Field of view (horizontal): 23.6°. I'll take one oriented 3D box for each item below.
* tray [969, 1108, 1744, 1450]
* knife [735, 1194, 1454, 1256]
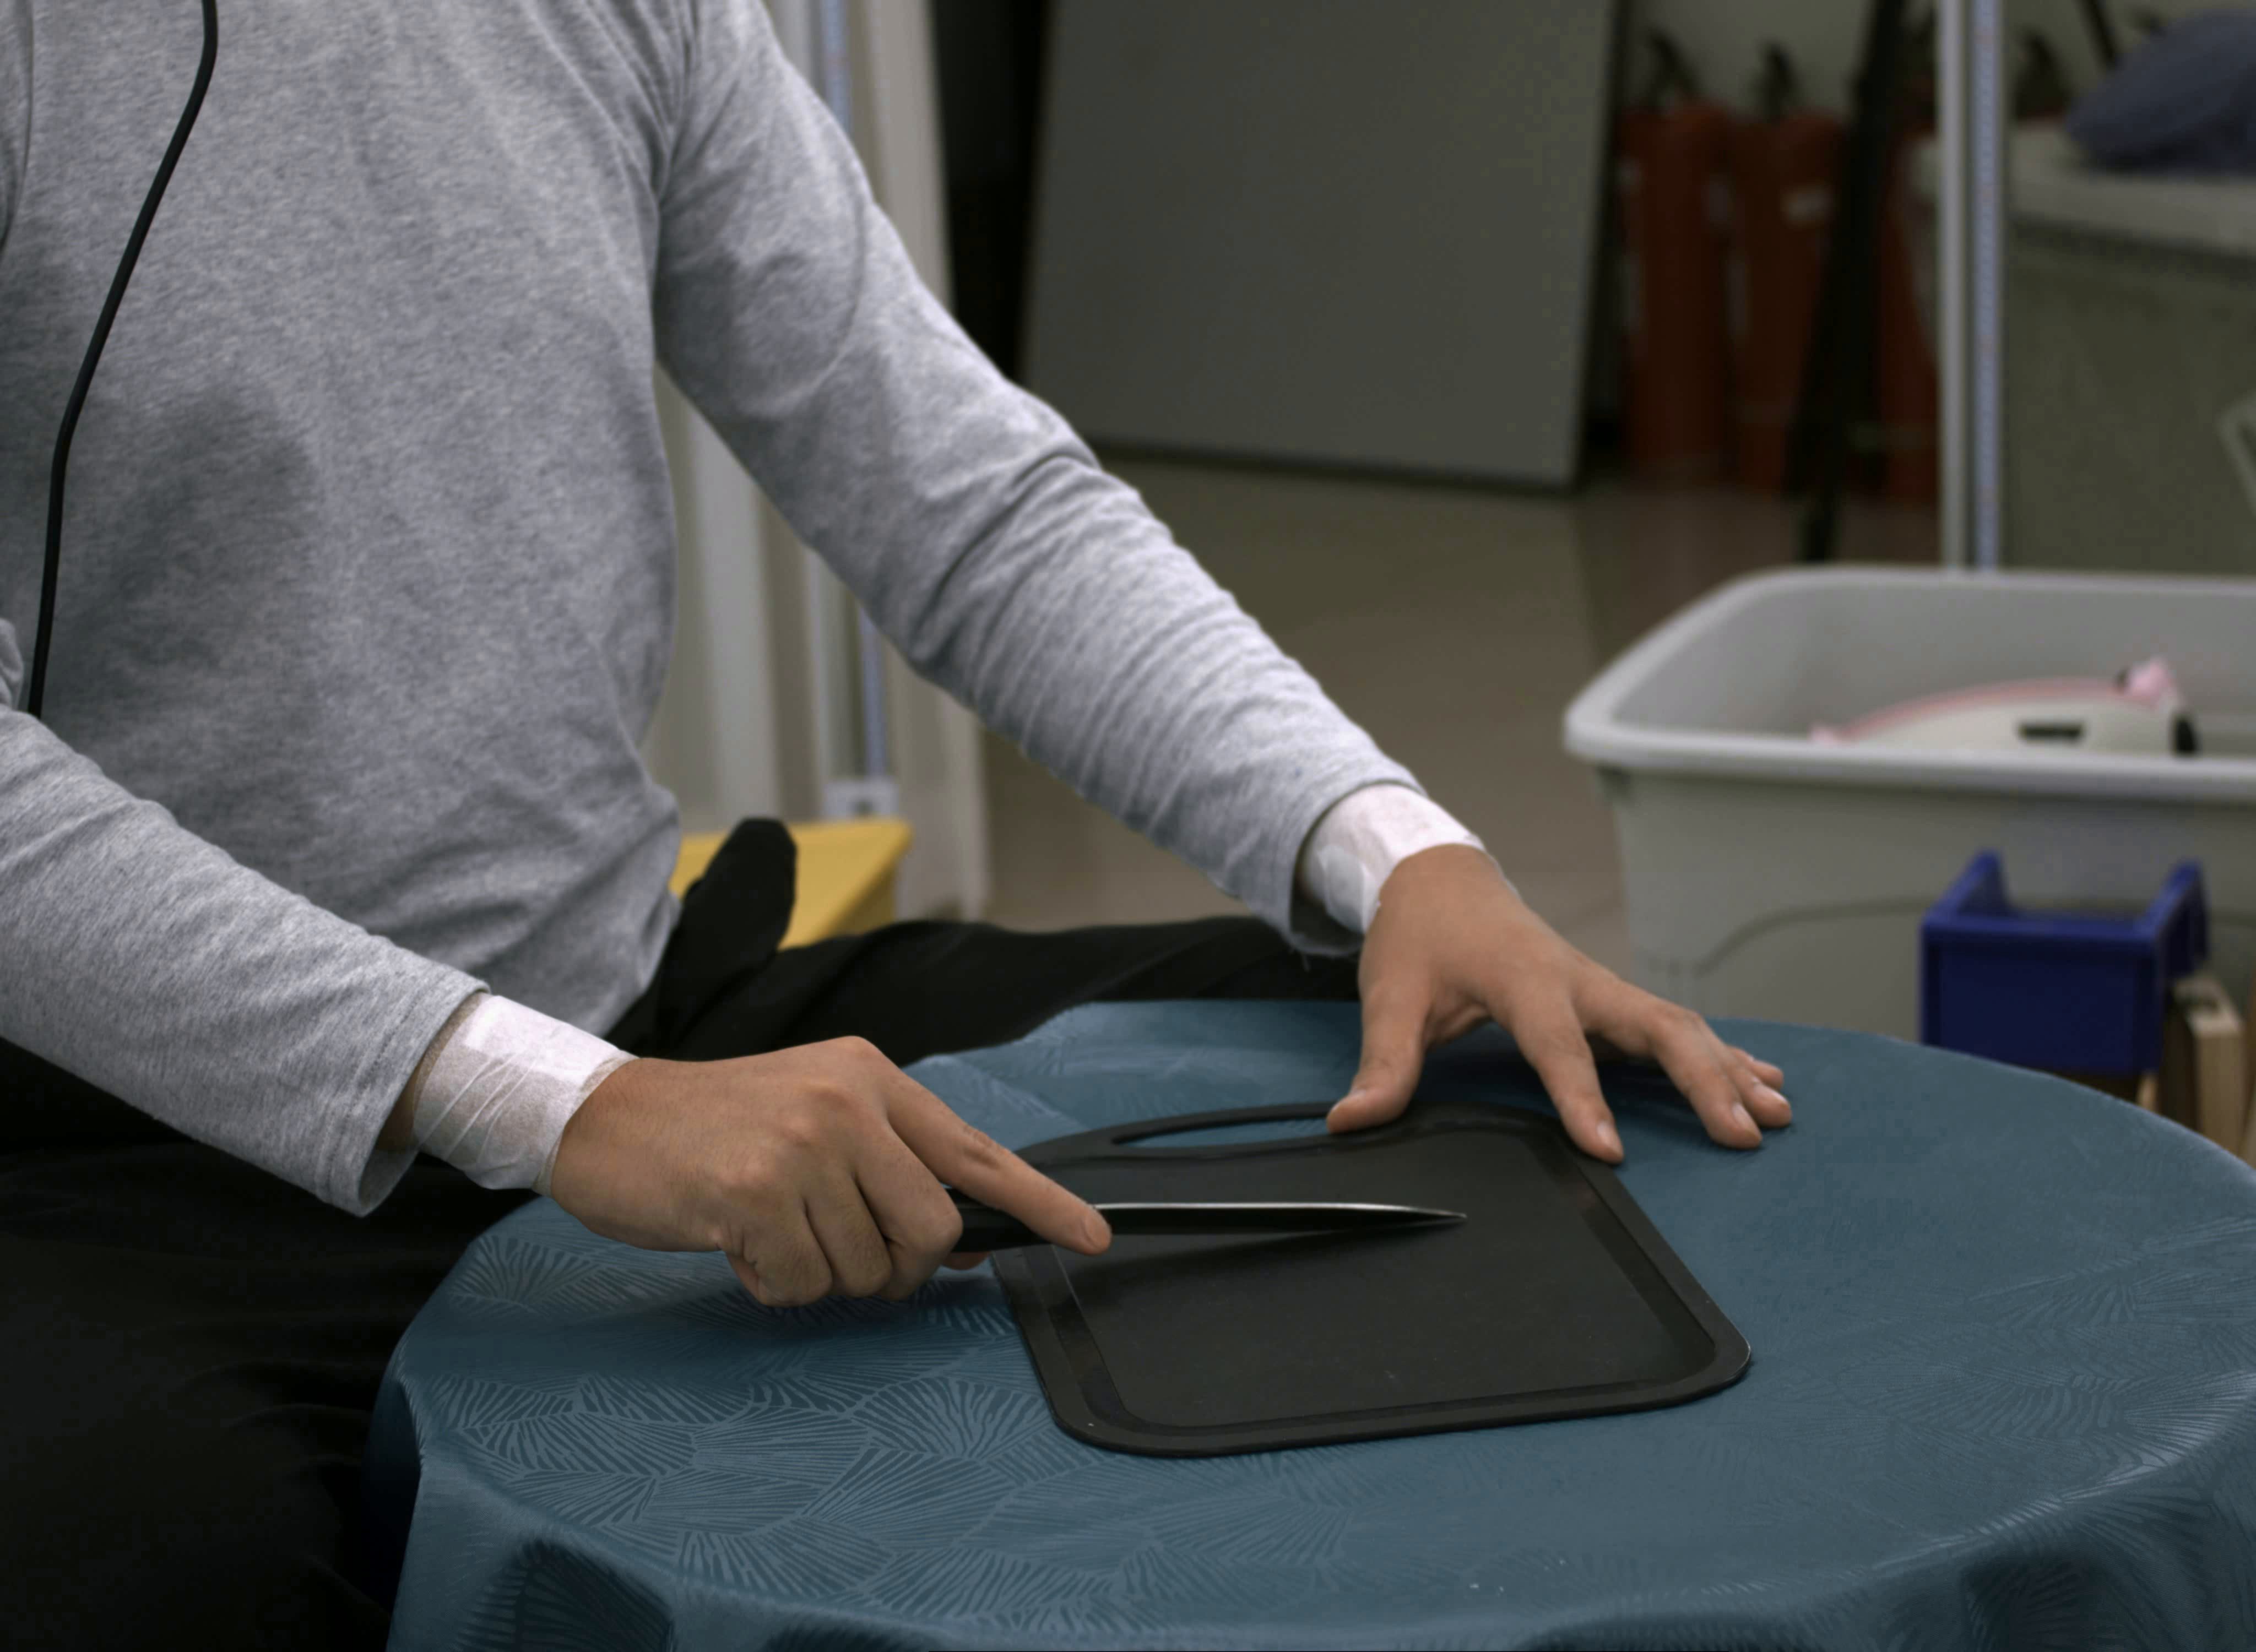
[{"bbox_3d":[0.063,0.135,1.689,0.208,0.010,0.327,-5,13,-6],"label":"tray"},{"bbox_3d":[-0.005,0.125,1.686,0.233,0.016,0.024,2,-26,-12],"label":"knife"}]
